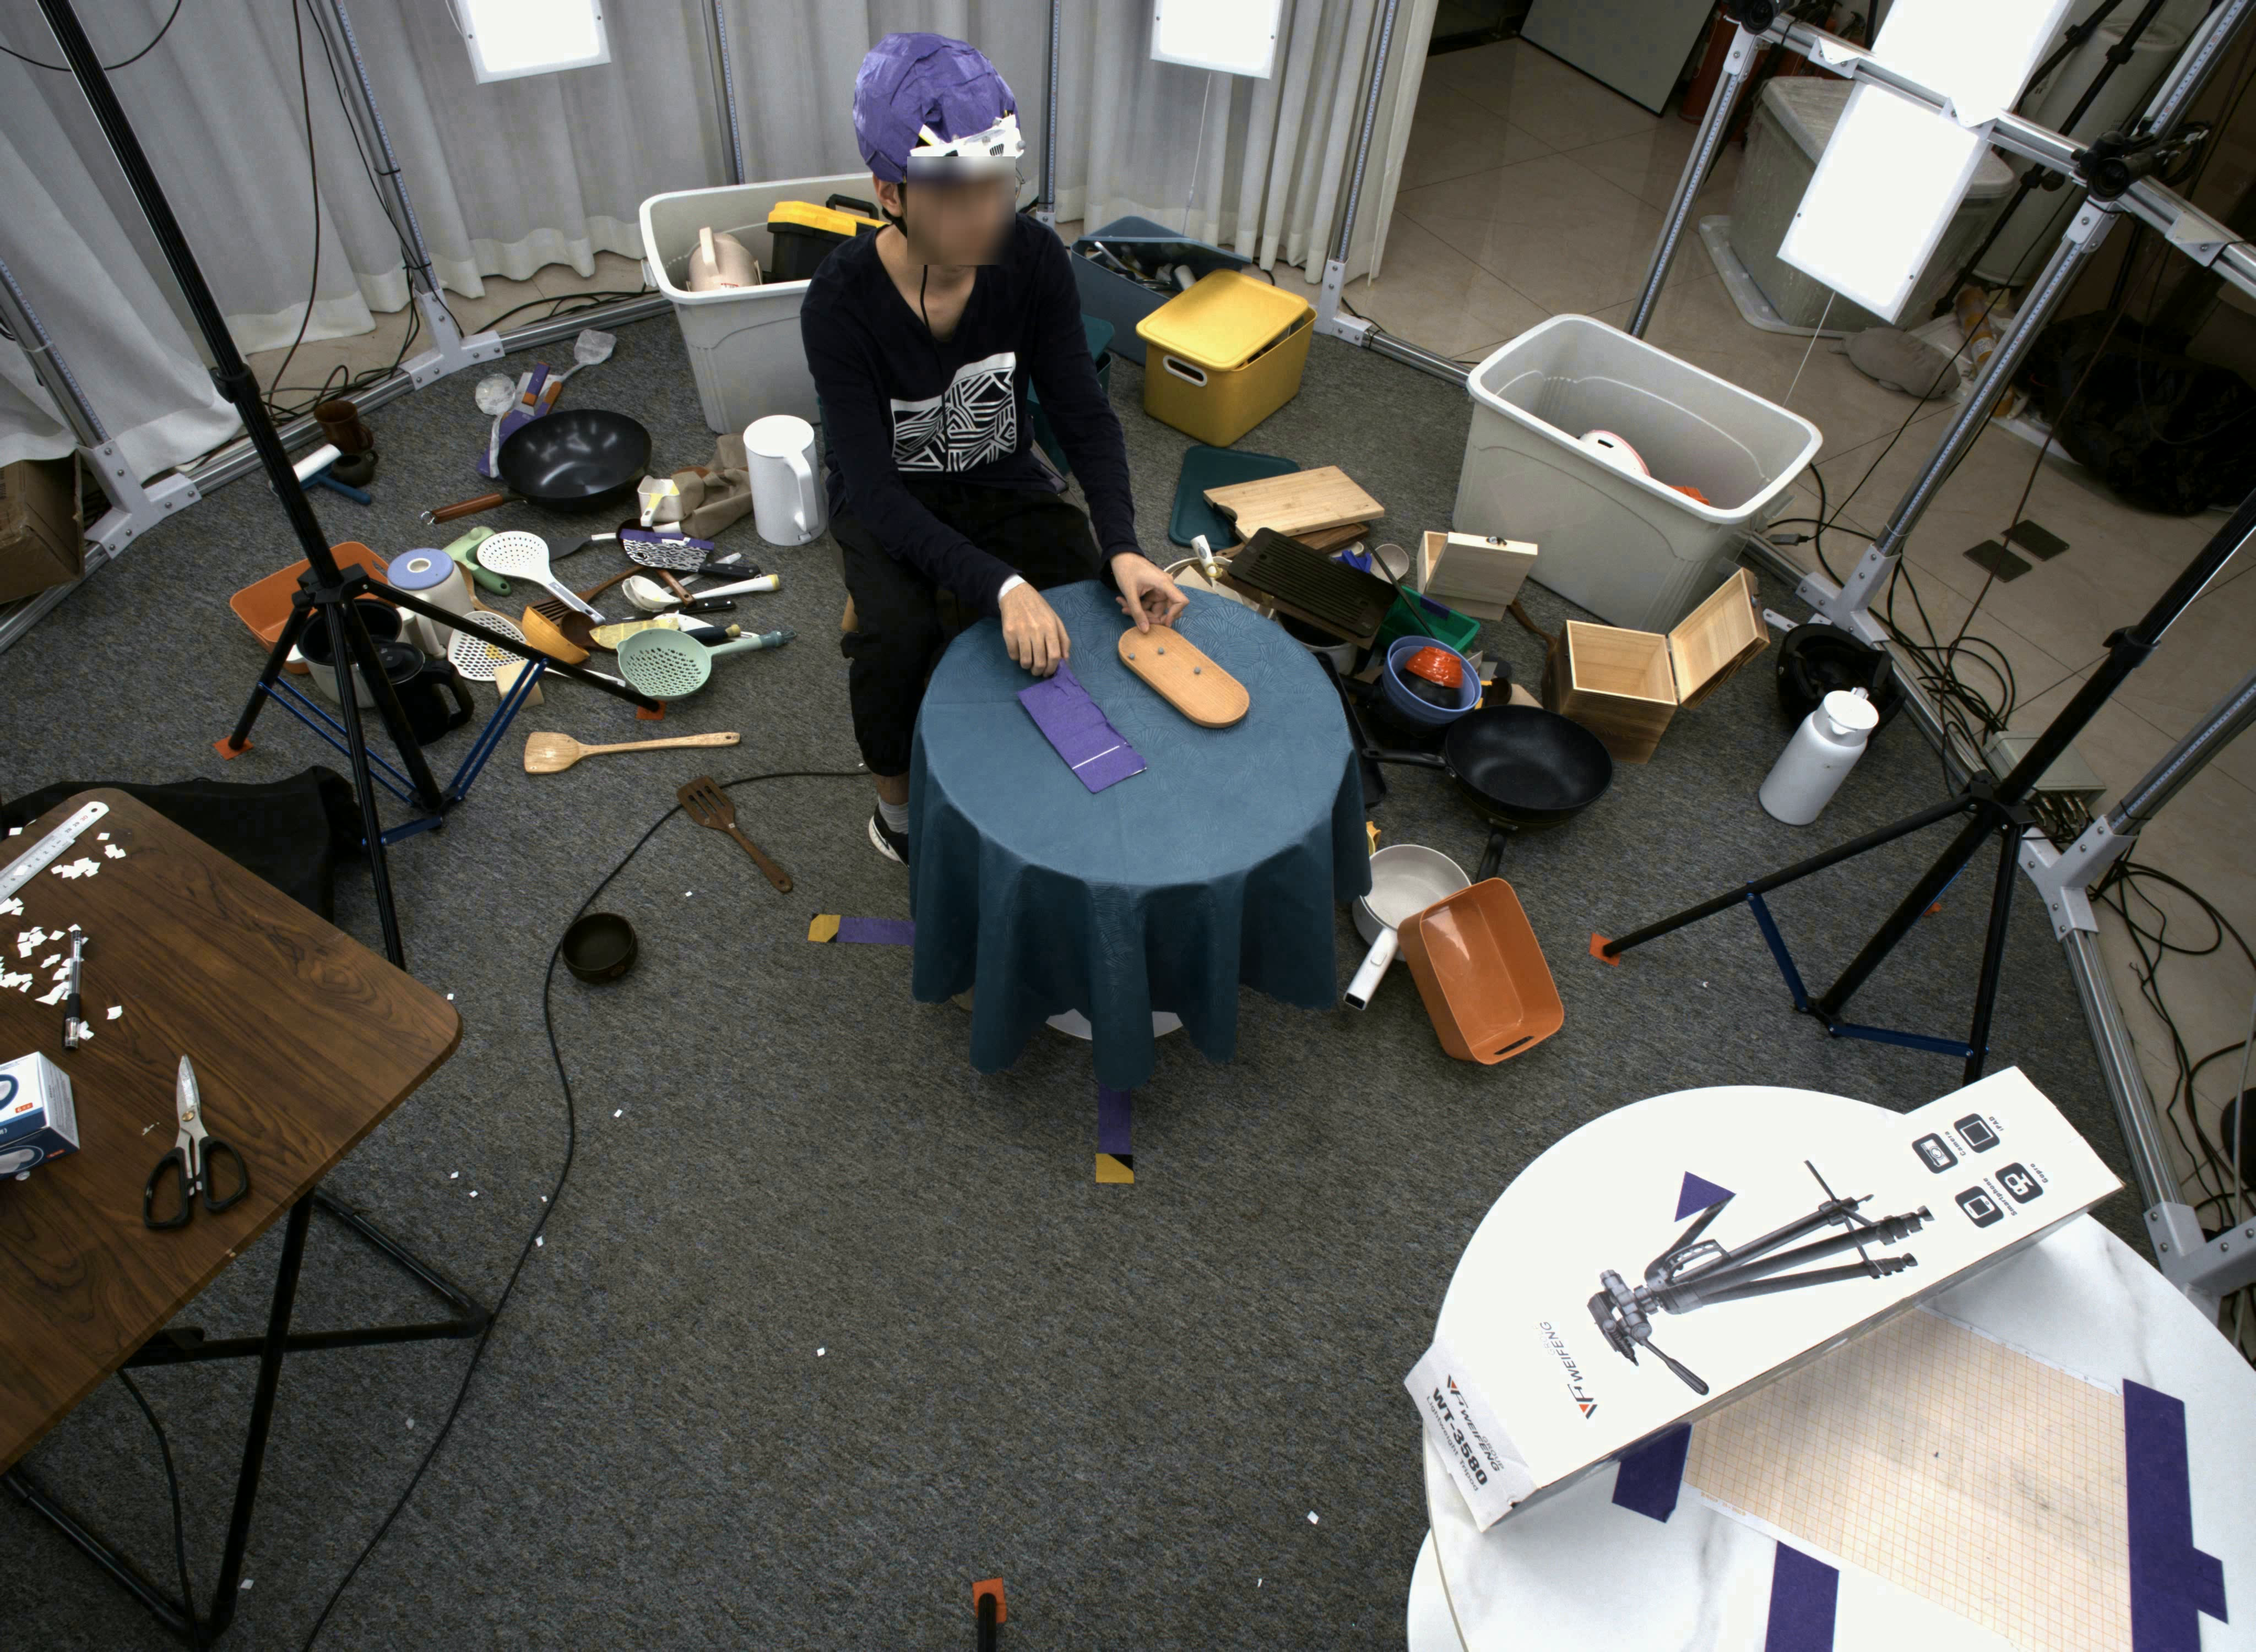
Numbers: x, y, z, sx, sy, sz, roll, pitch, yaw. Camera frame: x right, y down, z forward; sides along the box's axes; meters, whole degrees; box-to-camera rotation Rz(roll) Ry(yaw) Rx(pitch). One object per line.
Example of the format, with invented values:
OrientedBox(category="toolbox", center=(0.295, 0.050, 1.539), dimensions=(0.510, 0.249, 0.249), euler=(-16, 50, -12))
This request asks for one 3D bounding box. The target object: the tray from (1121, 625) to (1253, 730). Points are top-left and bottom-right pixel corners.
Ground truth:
OrientedBox(category="tray", center=(0.082, -0.216, 1.850), dimensions=(0.102, 0.020, 0.235), euler=(-33, 61, -26))

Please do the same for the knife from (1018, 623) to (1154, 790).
OrientedBox(category="knife", center=(-0.090, -0.172, 1.792), dimensions=(0.104, 0.031, 0.321), euler=(-24, 55, -23))
